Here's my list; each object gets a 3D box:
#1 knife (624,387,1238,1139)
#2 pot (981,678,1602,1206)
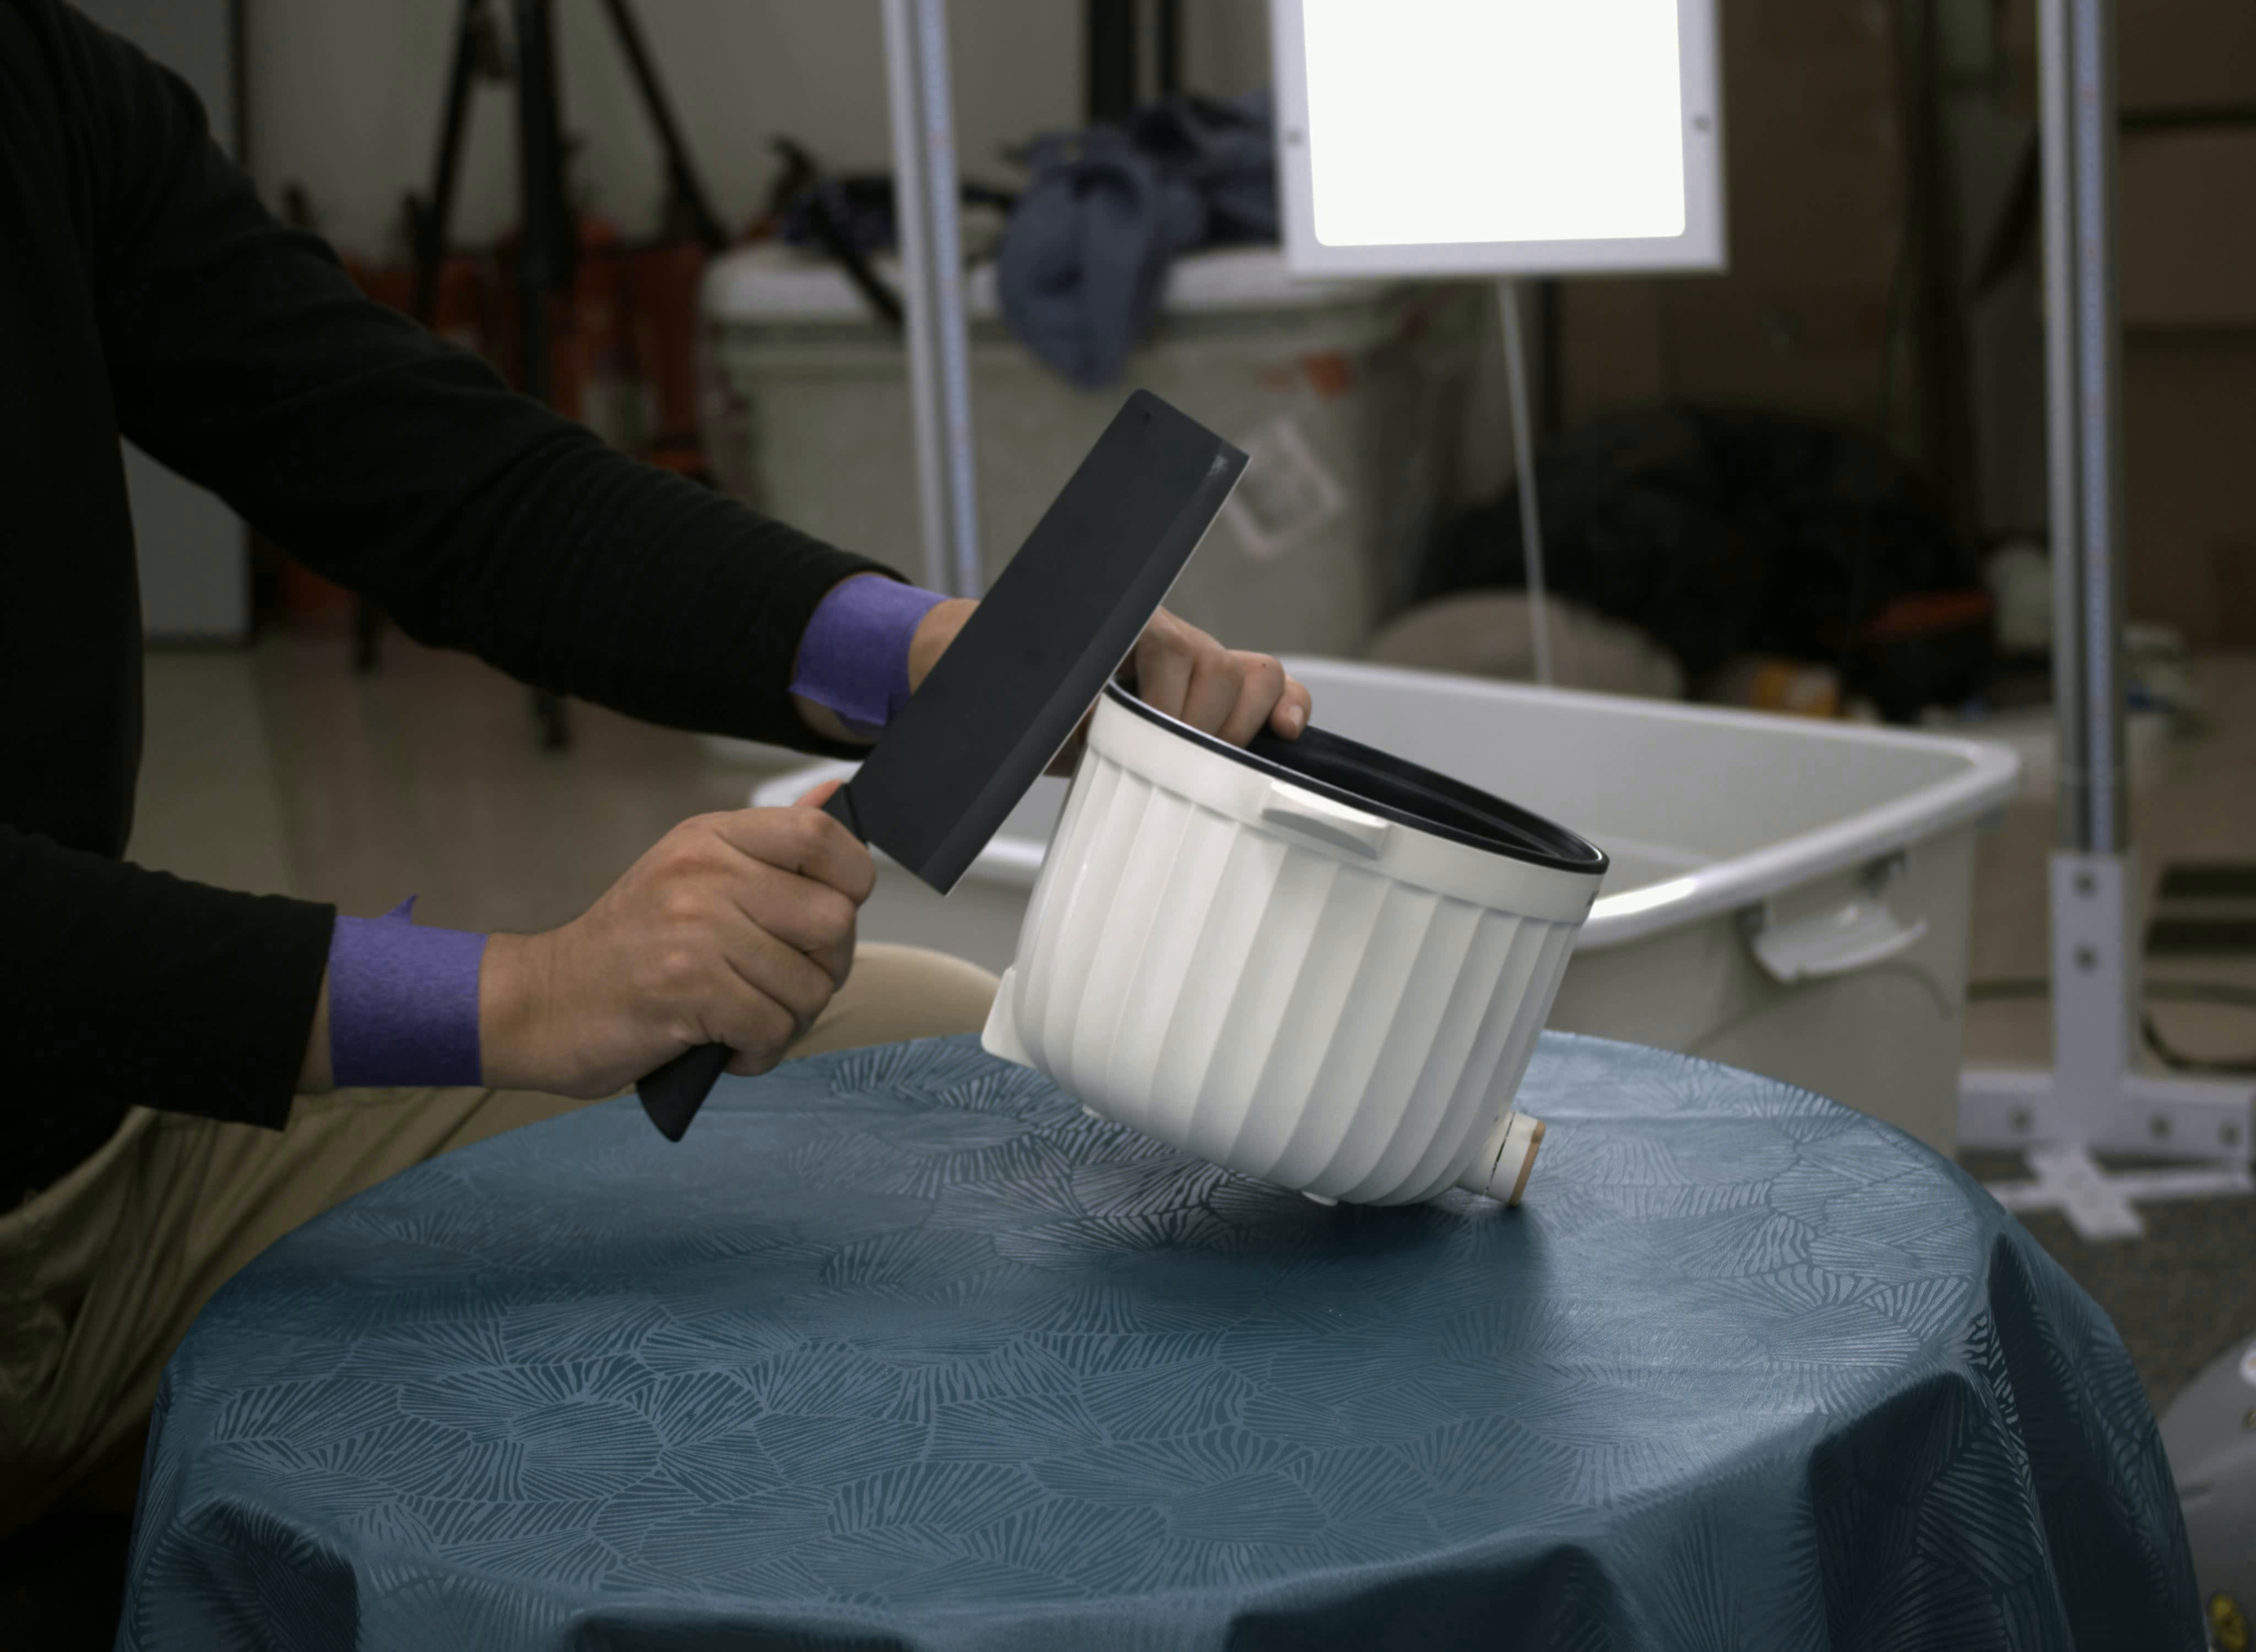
[{"bbox_3d":[-0.069,-0.018,1.859,0.082,0.303,0.020,43,6,40],"label":"knife"},{"bbox_3d":[0.059,0.044,1.853,0.191,0.143,0.238,17,8,5],"label":"pot"}]
